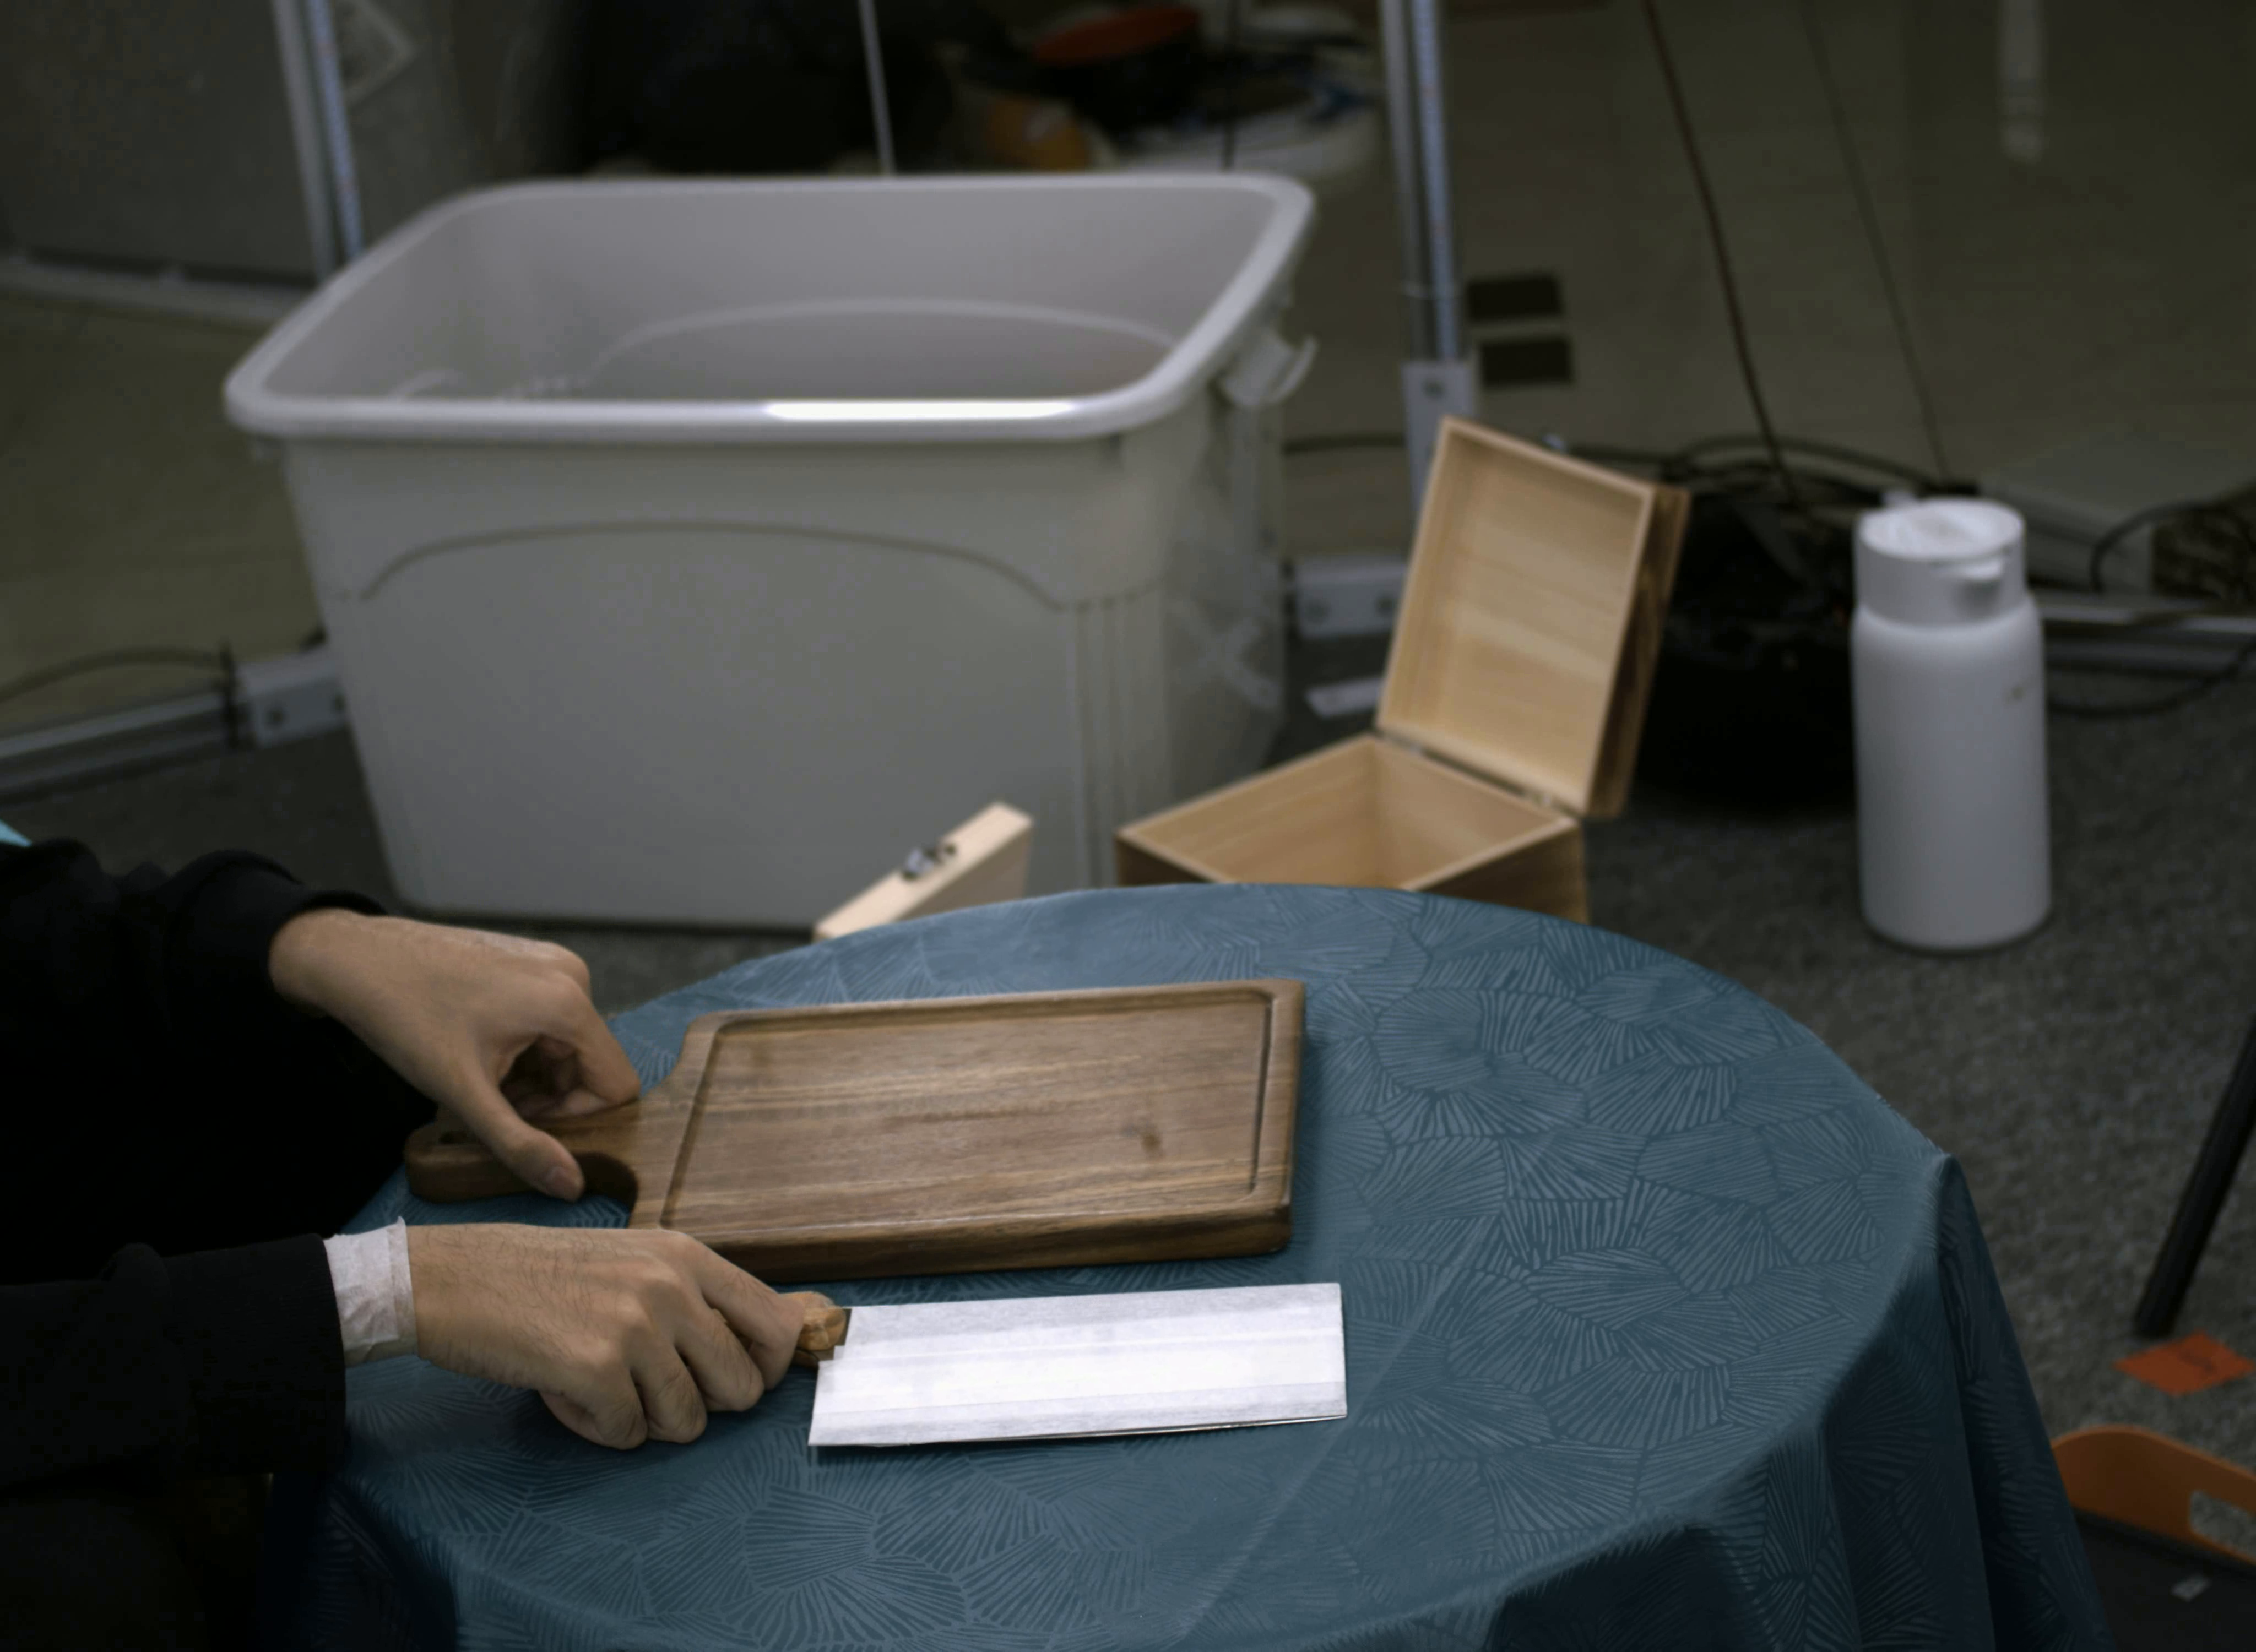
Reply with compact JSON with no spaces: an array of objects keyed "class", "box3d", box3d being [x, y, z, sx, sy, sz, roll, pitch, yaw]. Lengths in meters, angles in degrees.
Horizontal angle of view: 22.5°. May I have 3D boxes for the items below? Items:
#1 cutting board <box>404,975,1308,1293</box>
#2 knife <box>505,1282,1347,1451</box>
[{"class":"cutting board","box3d":[-0.106,0.120,2.189,0.351,0.023,0.198,-4,25,5]},{"class":"knife","box3d":[-0.074,0.194,2.029,0.305,0.021,0.091,-3,28,2]}]
